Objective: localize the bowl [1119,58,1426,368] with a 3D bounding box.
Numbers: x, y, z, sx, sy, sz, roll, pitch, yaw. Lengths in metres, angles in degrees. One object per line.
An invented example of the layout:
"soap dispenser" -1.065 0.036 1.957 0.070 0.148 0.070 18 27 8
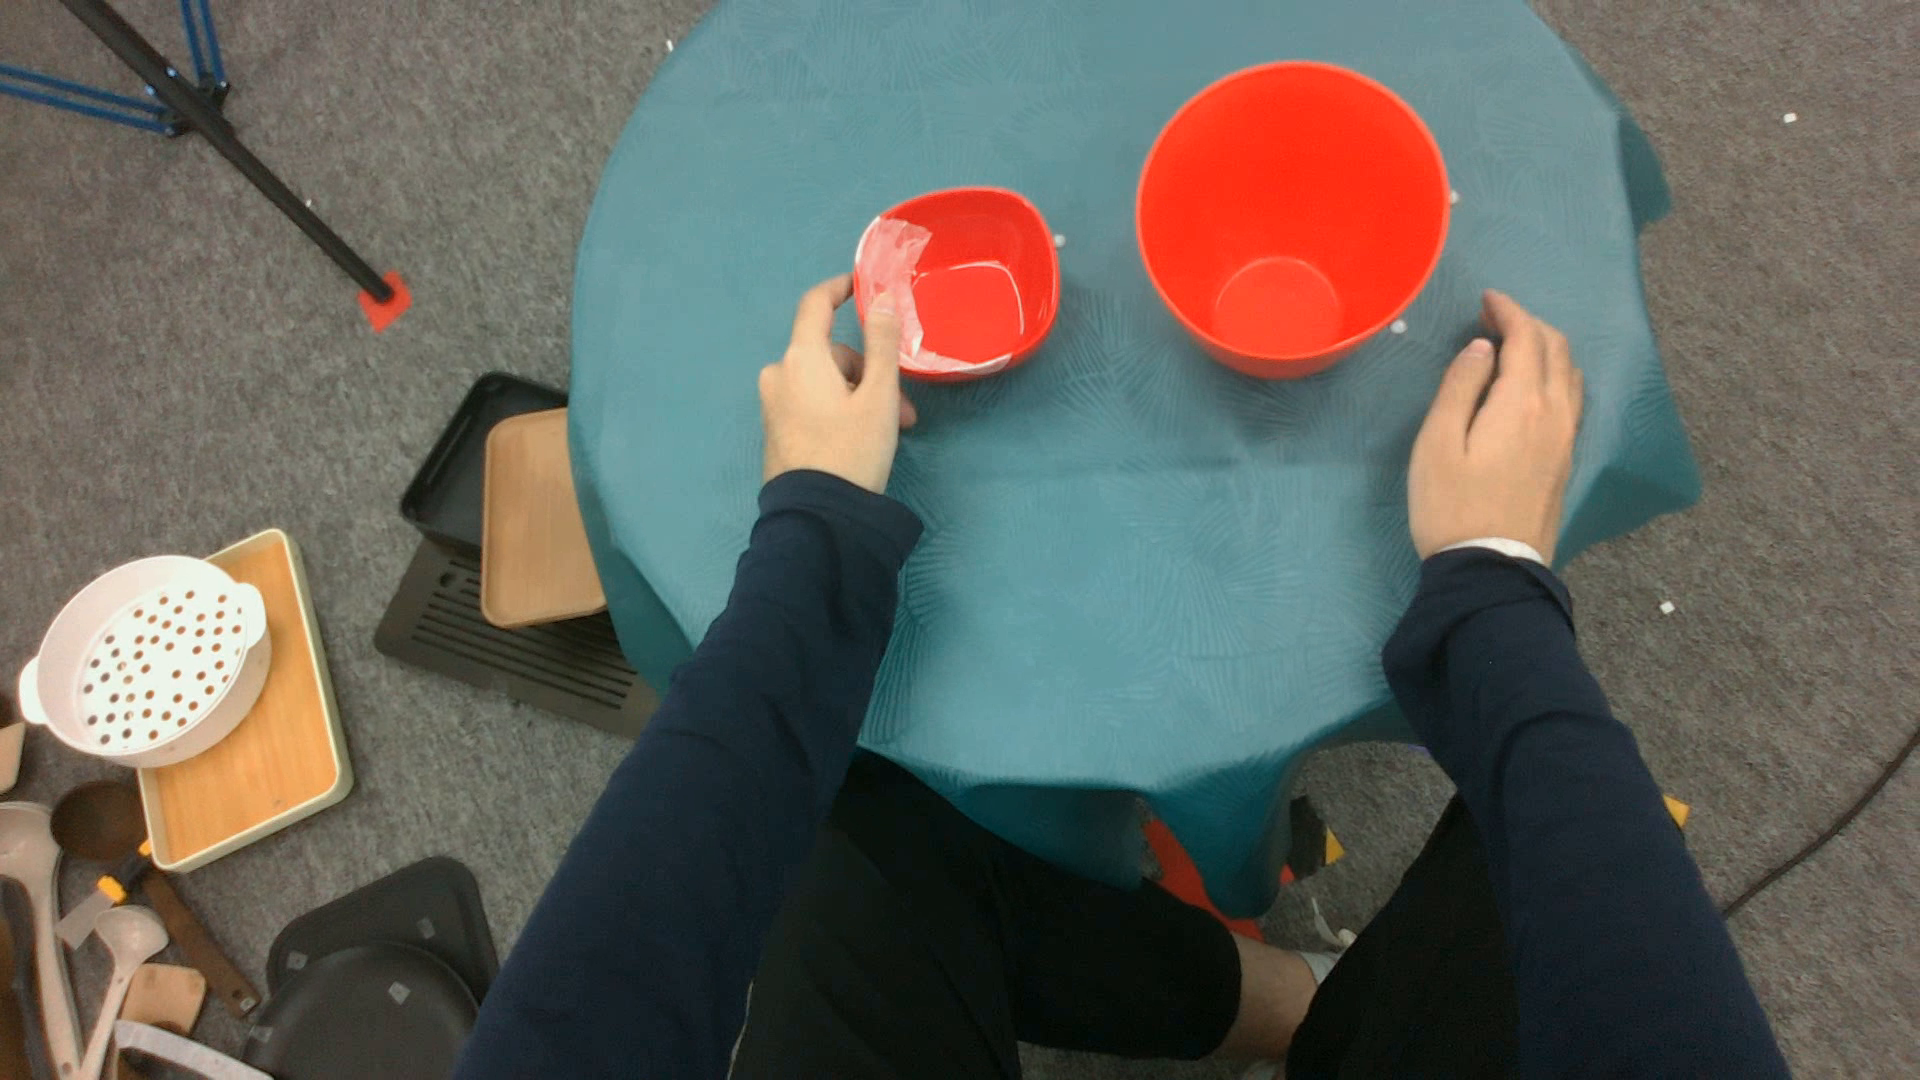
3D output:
"bowl" 0.156 -0.154 0.710 0.148 0.104 0.148 -2 70 6

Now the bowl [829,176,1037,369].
"bowl" -0.012 -0.137 0.753 0.119 0.051 0.119 -2 70 5
